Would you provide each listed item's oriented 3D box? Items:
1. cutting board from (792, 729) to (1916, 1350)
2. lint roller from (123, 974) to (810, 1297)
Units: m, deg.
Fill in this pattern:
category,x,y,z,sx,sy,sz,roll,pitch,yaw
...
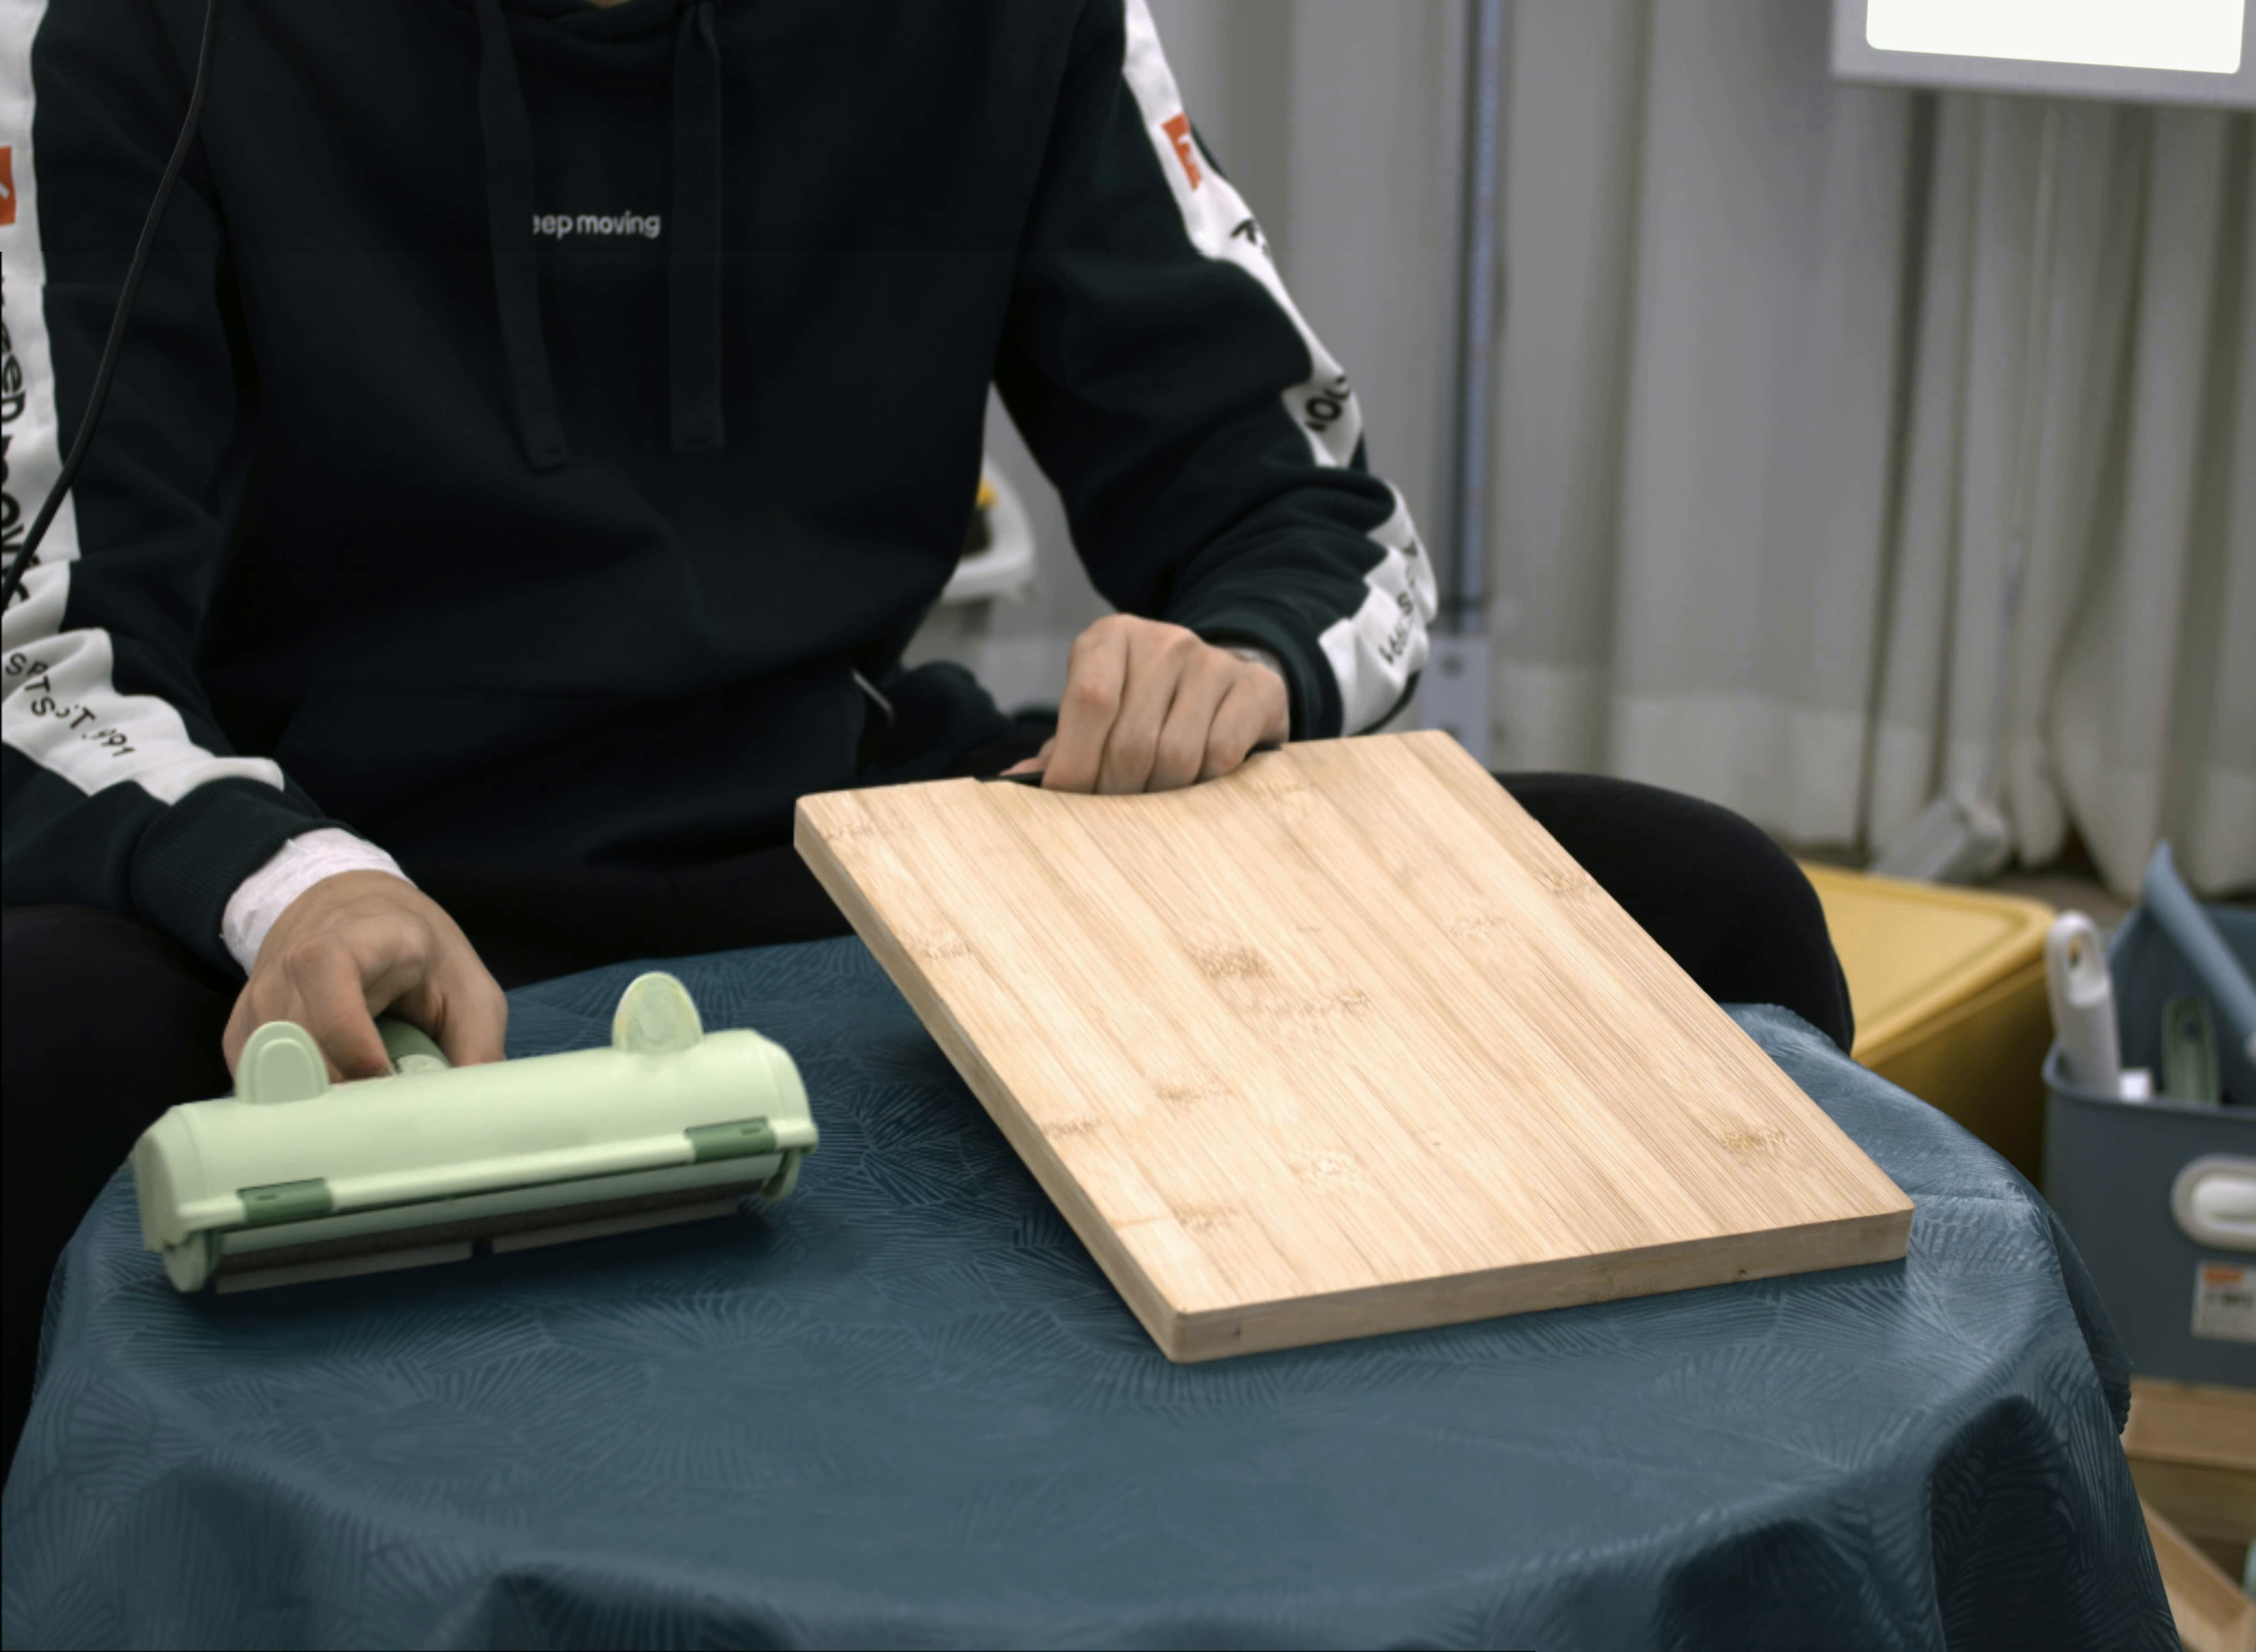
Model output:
category,x,y,z,sx,sy,sz,roll,pitch,yaw
cutting board,0.061,0.059,1.661,0.251,0.024,0.344,-6,28,-23
lint roller,-0.215,0.071,1.589,0.199,0.083,0.181,-6,25,-23
